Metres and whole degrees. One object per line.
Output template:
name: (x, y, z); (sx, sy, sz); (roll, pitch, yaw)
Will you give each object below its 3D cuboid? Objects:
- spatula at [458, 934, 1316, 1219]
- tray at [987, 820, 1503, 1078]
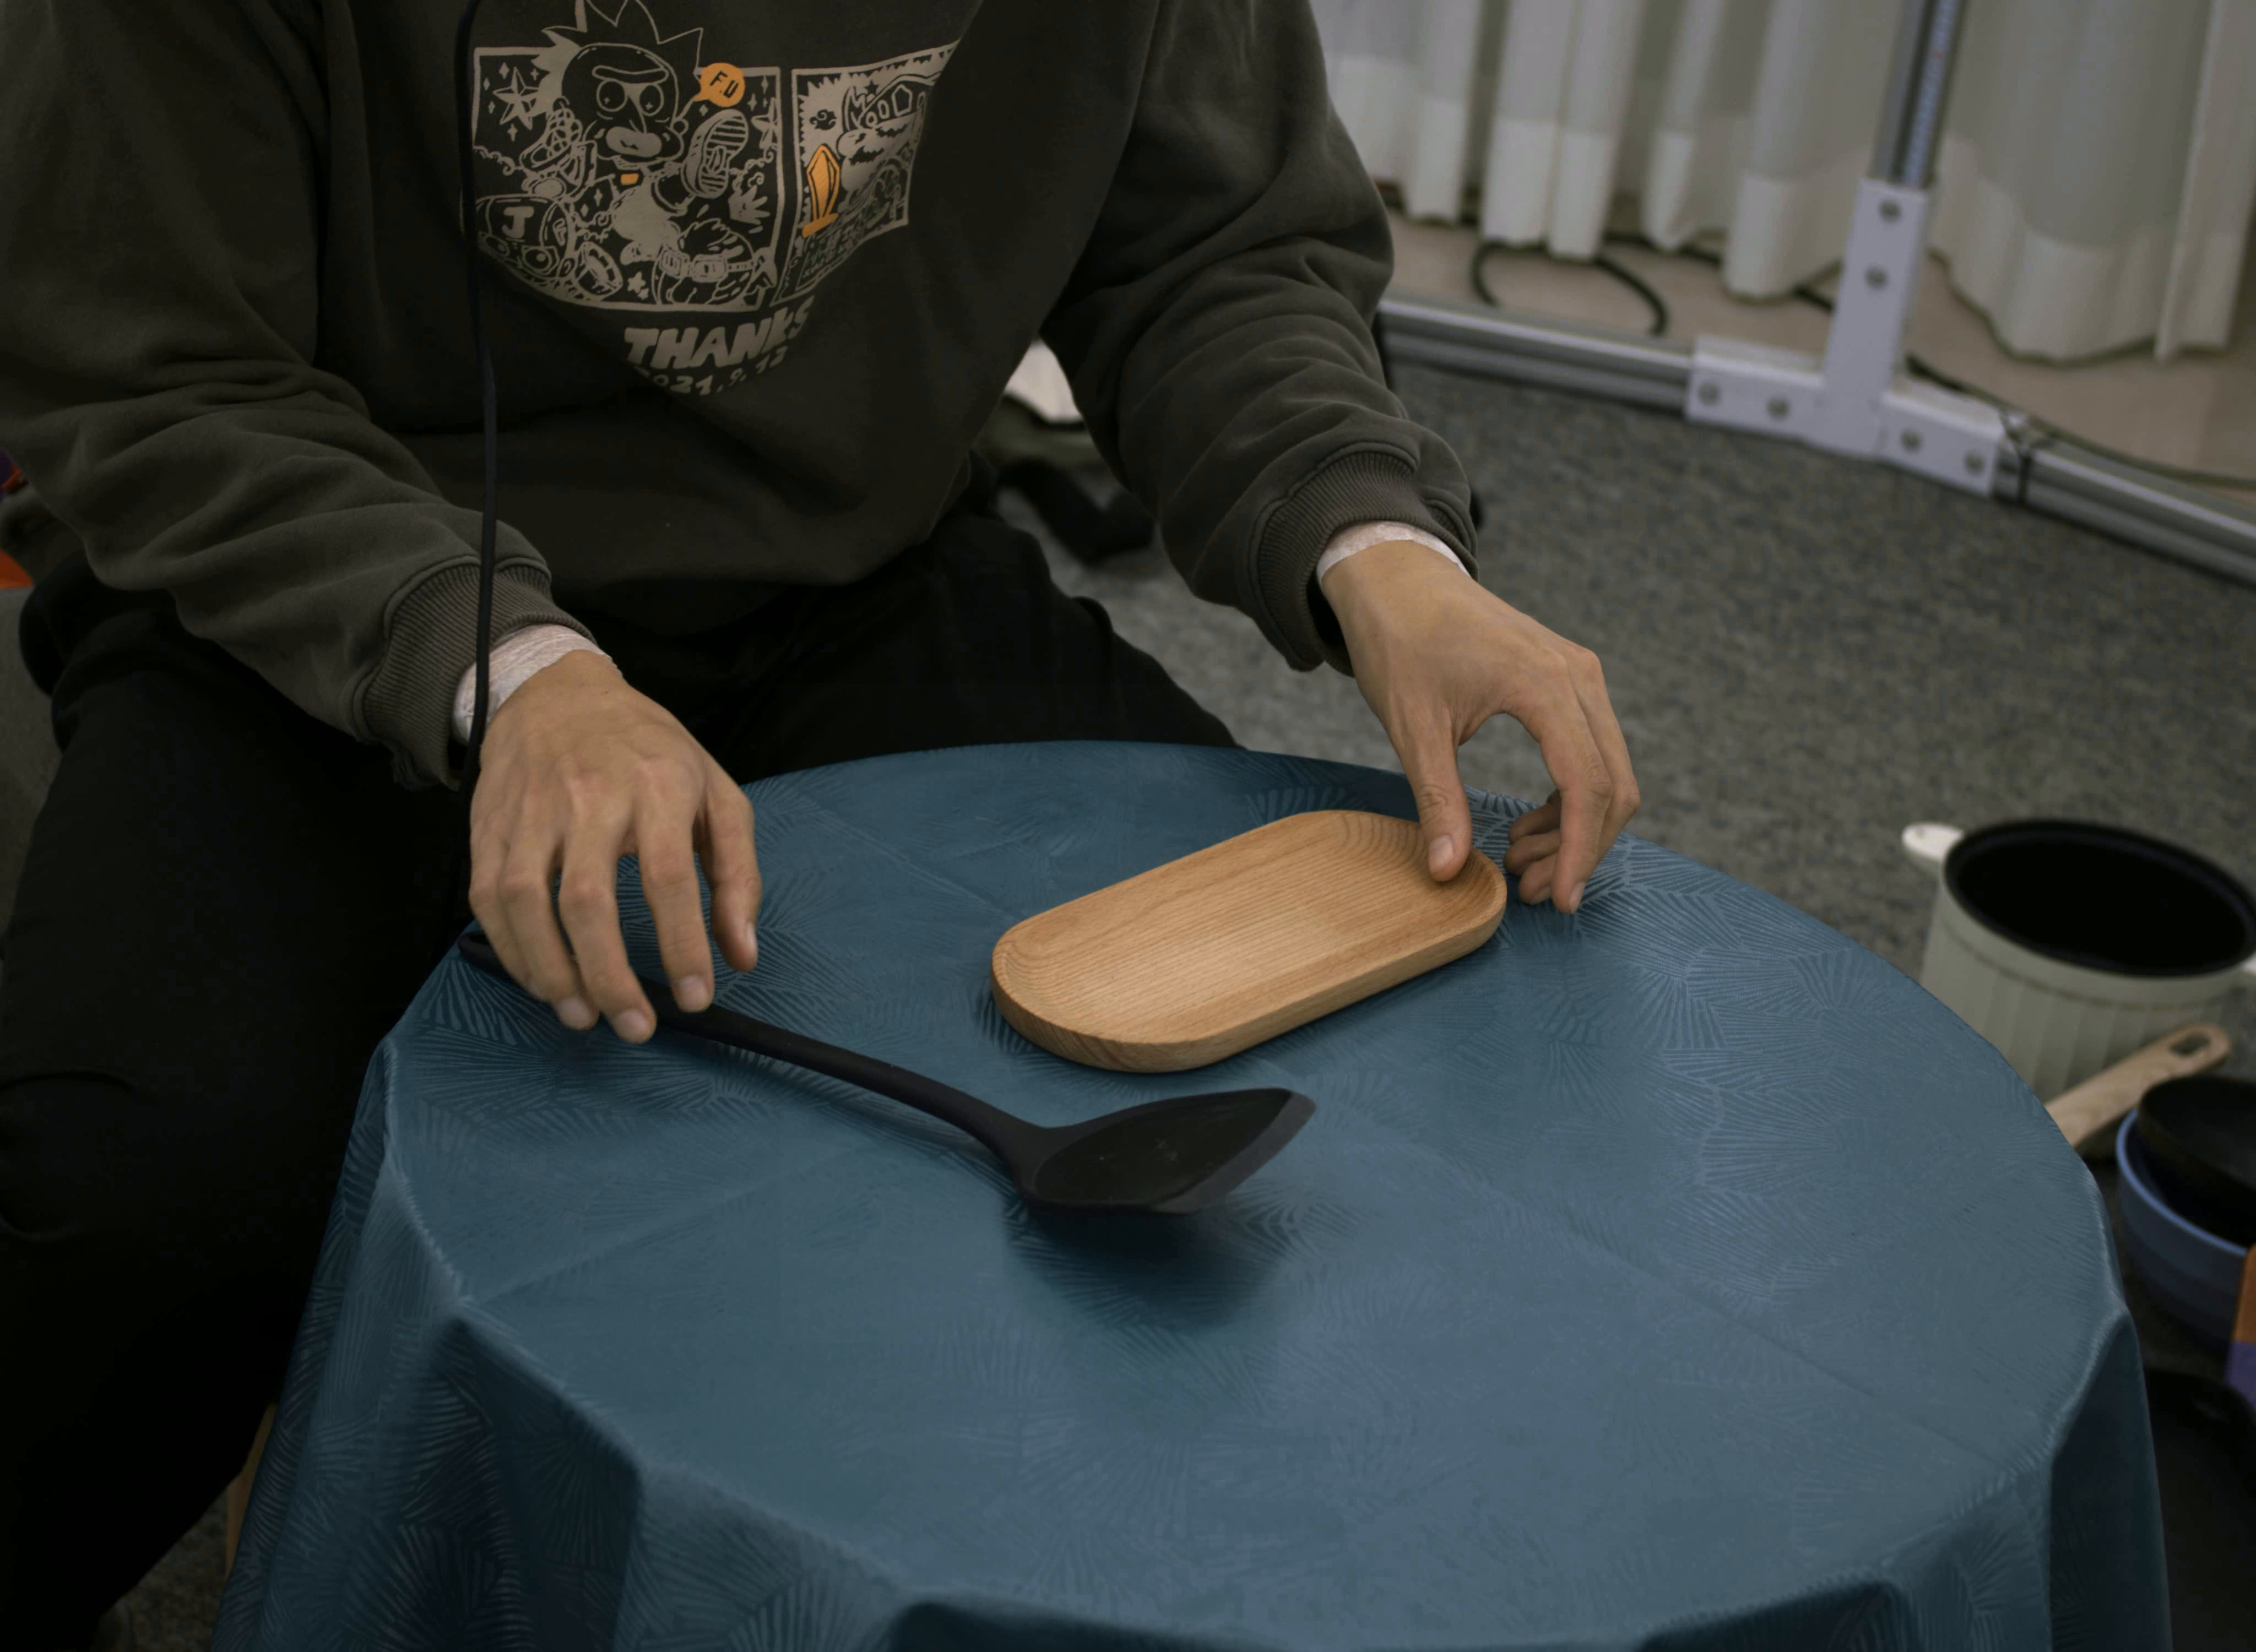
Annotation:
spatula: (-0.096, 0.078, 1.832); (0.327, 0.040, 0.099); (19, 28, 24)
tray: (0.045, 0.044, 1.955); (0.102, 0.020, 0.230); (28, 35, 37)
